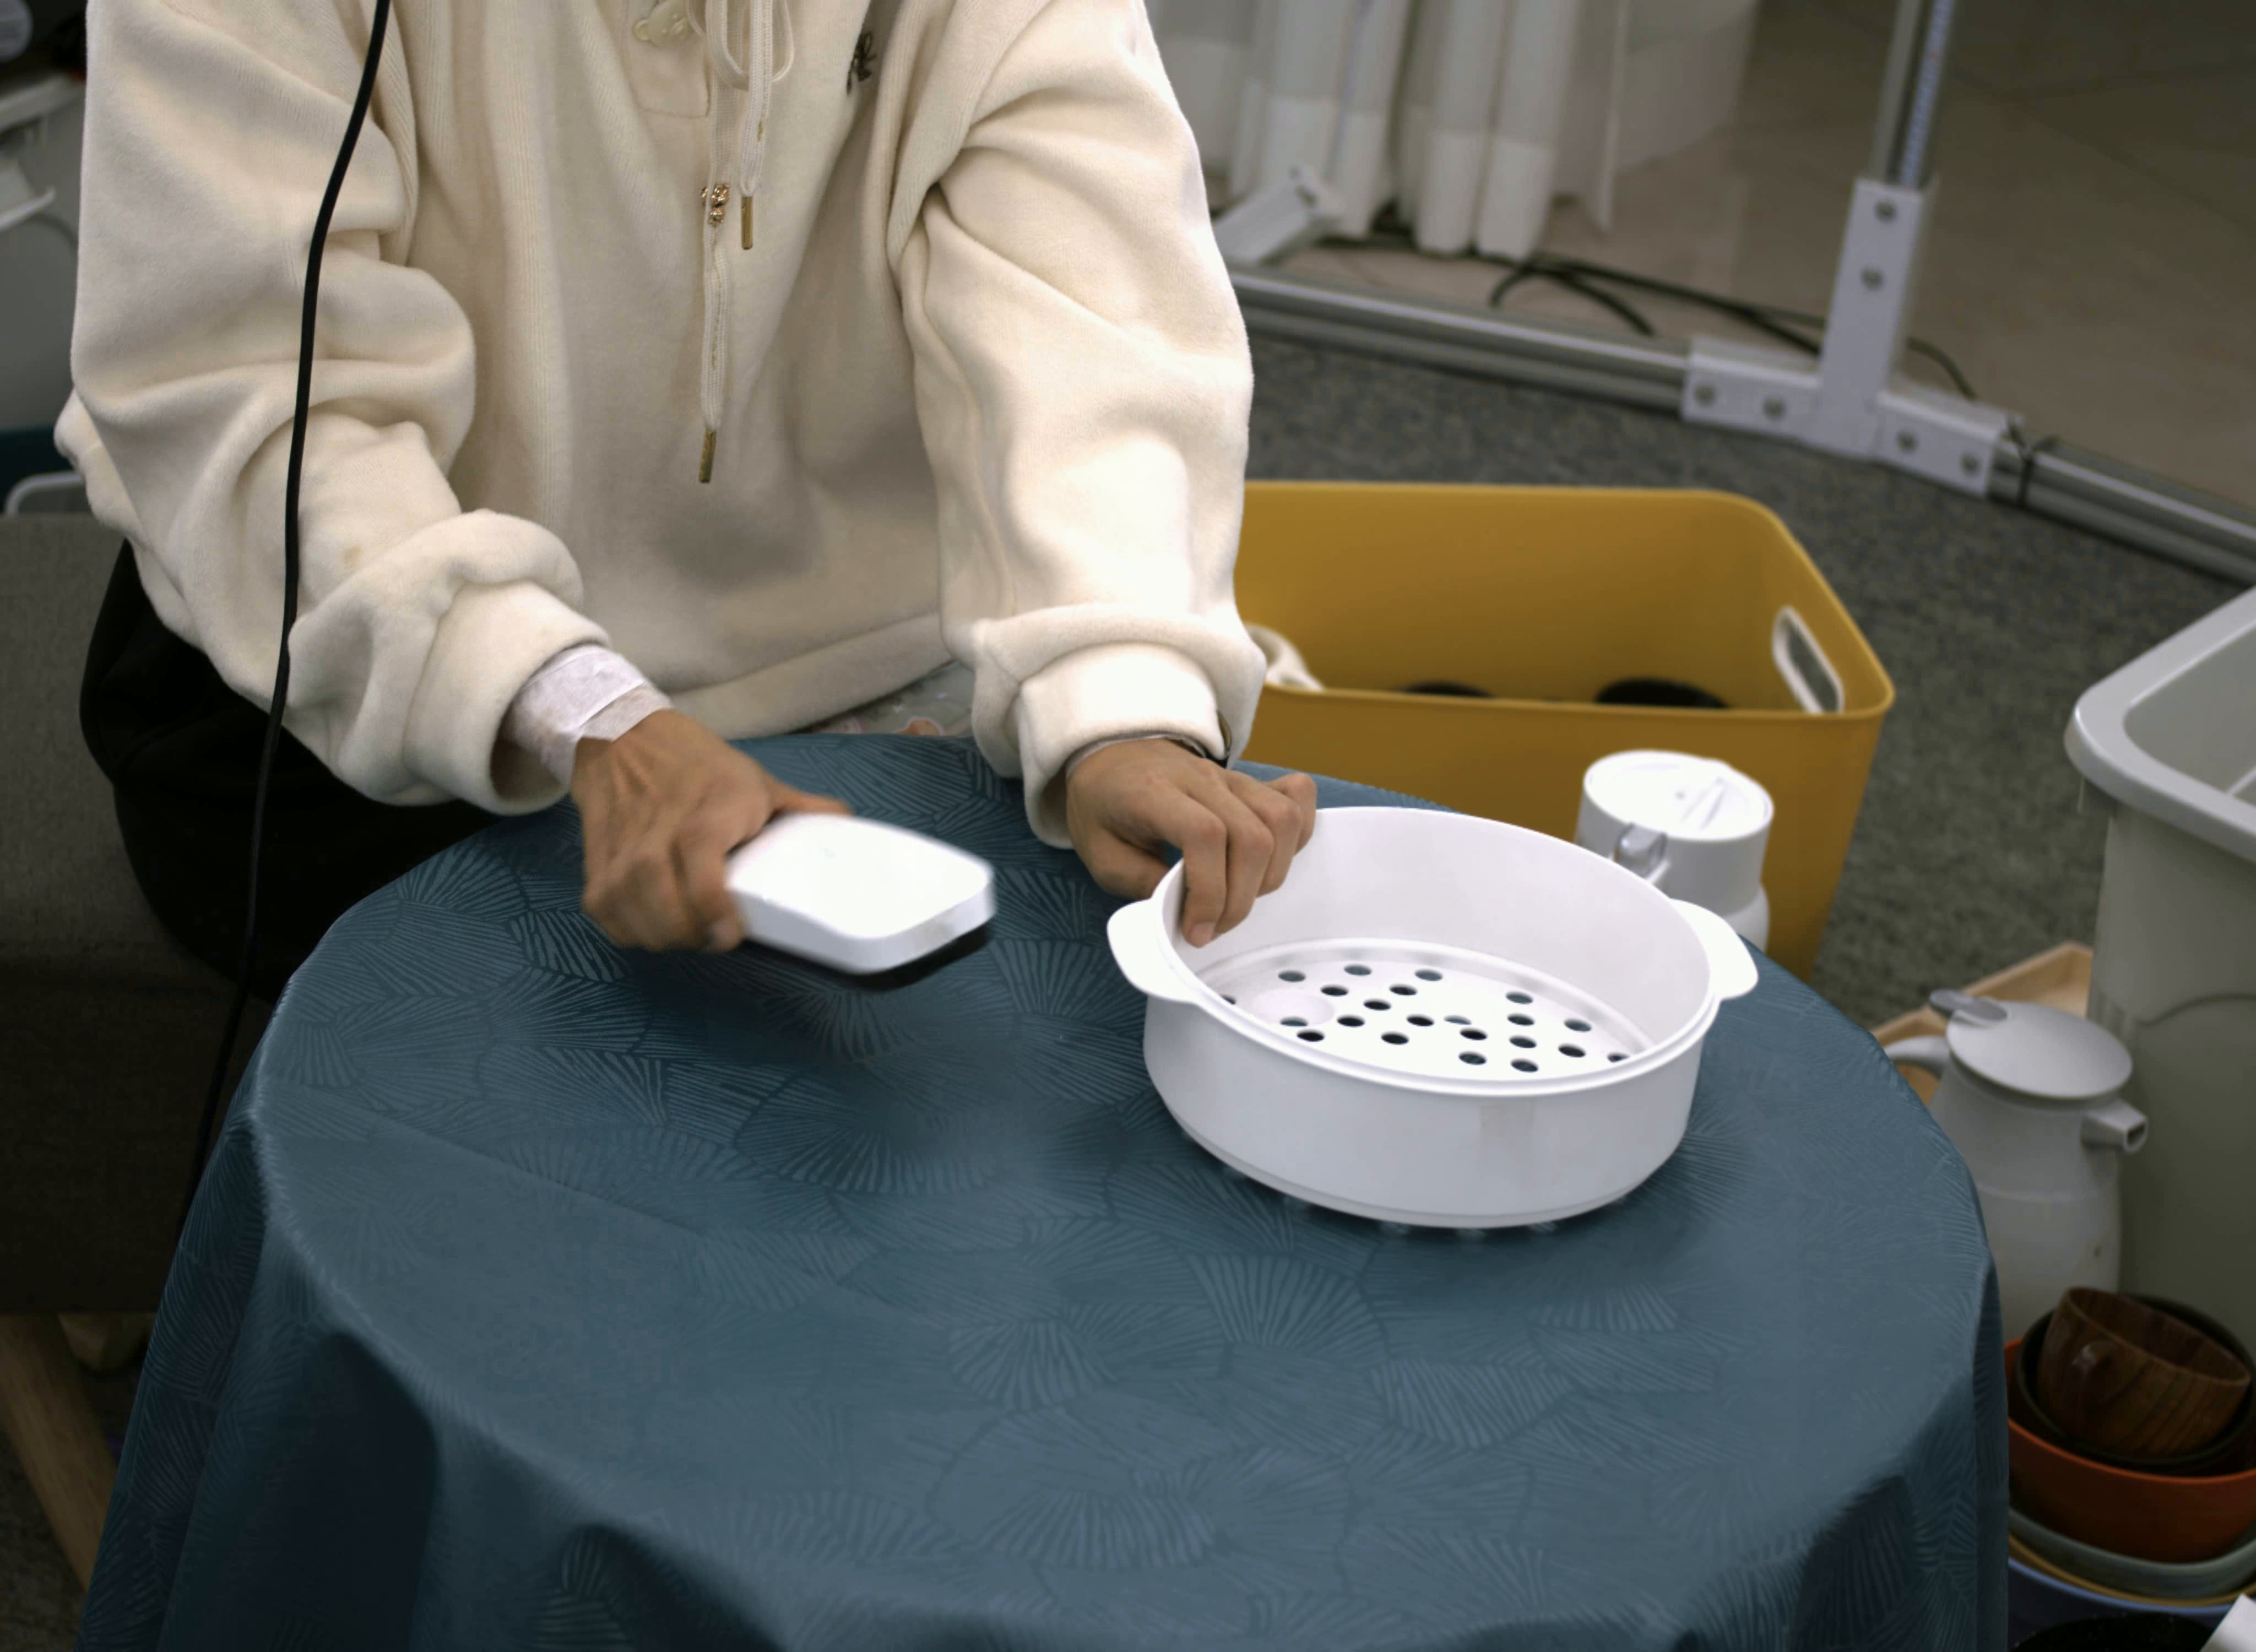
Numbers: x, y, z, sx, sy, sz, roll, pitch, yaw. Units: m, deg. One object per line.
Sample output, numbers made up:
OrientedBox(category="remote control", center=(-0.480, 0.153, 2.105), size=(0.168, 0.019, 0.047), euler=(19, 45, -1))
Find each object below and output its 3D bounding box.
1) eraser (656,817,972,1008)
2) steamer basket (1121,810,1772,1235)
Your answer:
OrientedBox(category="eraser", center=(-0.108, 0.027, 1.849), size=(0.063, 0.034, 0.132), euler=(-23, 24, -30))
OrientedBox(category="steamer basket", center=(0.109, 0.068, 1.862), size=(0.229, 0.069, 0.203), euler=(1, 27, -13))
